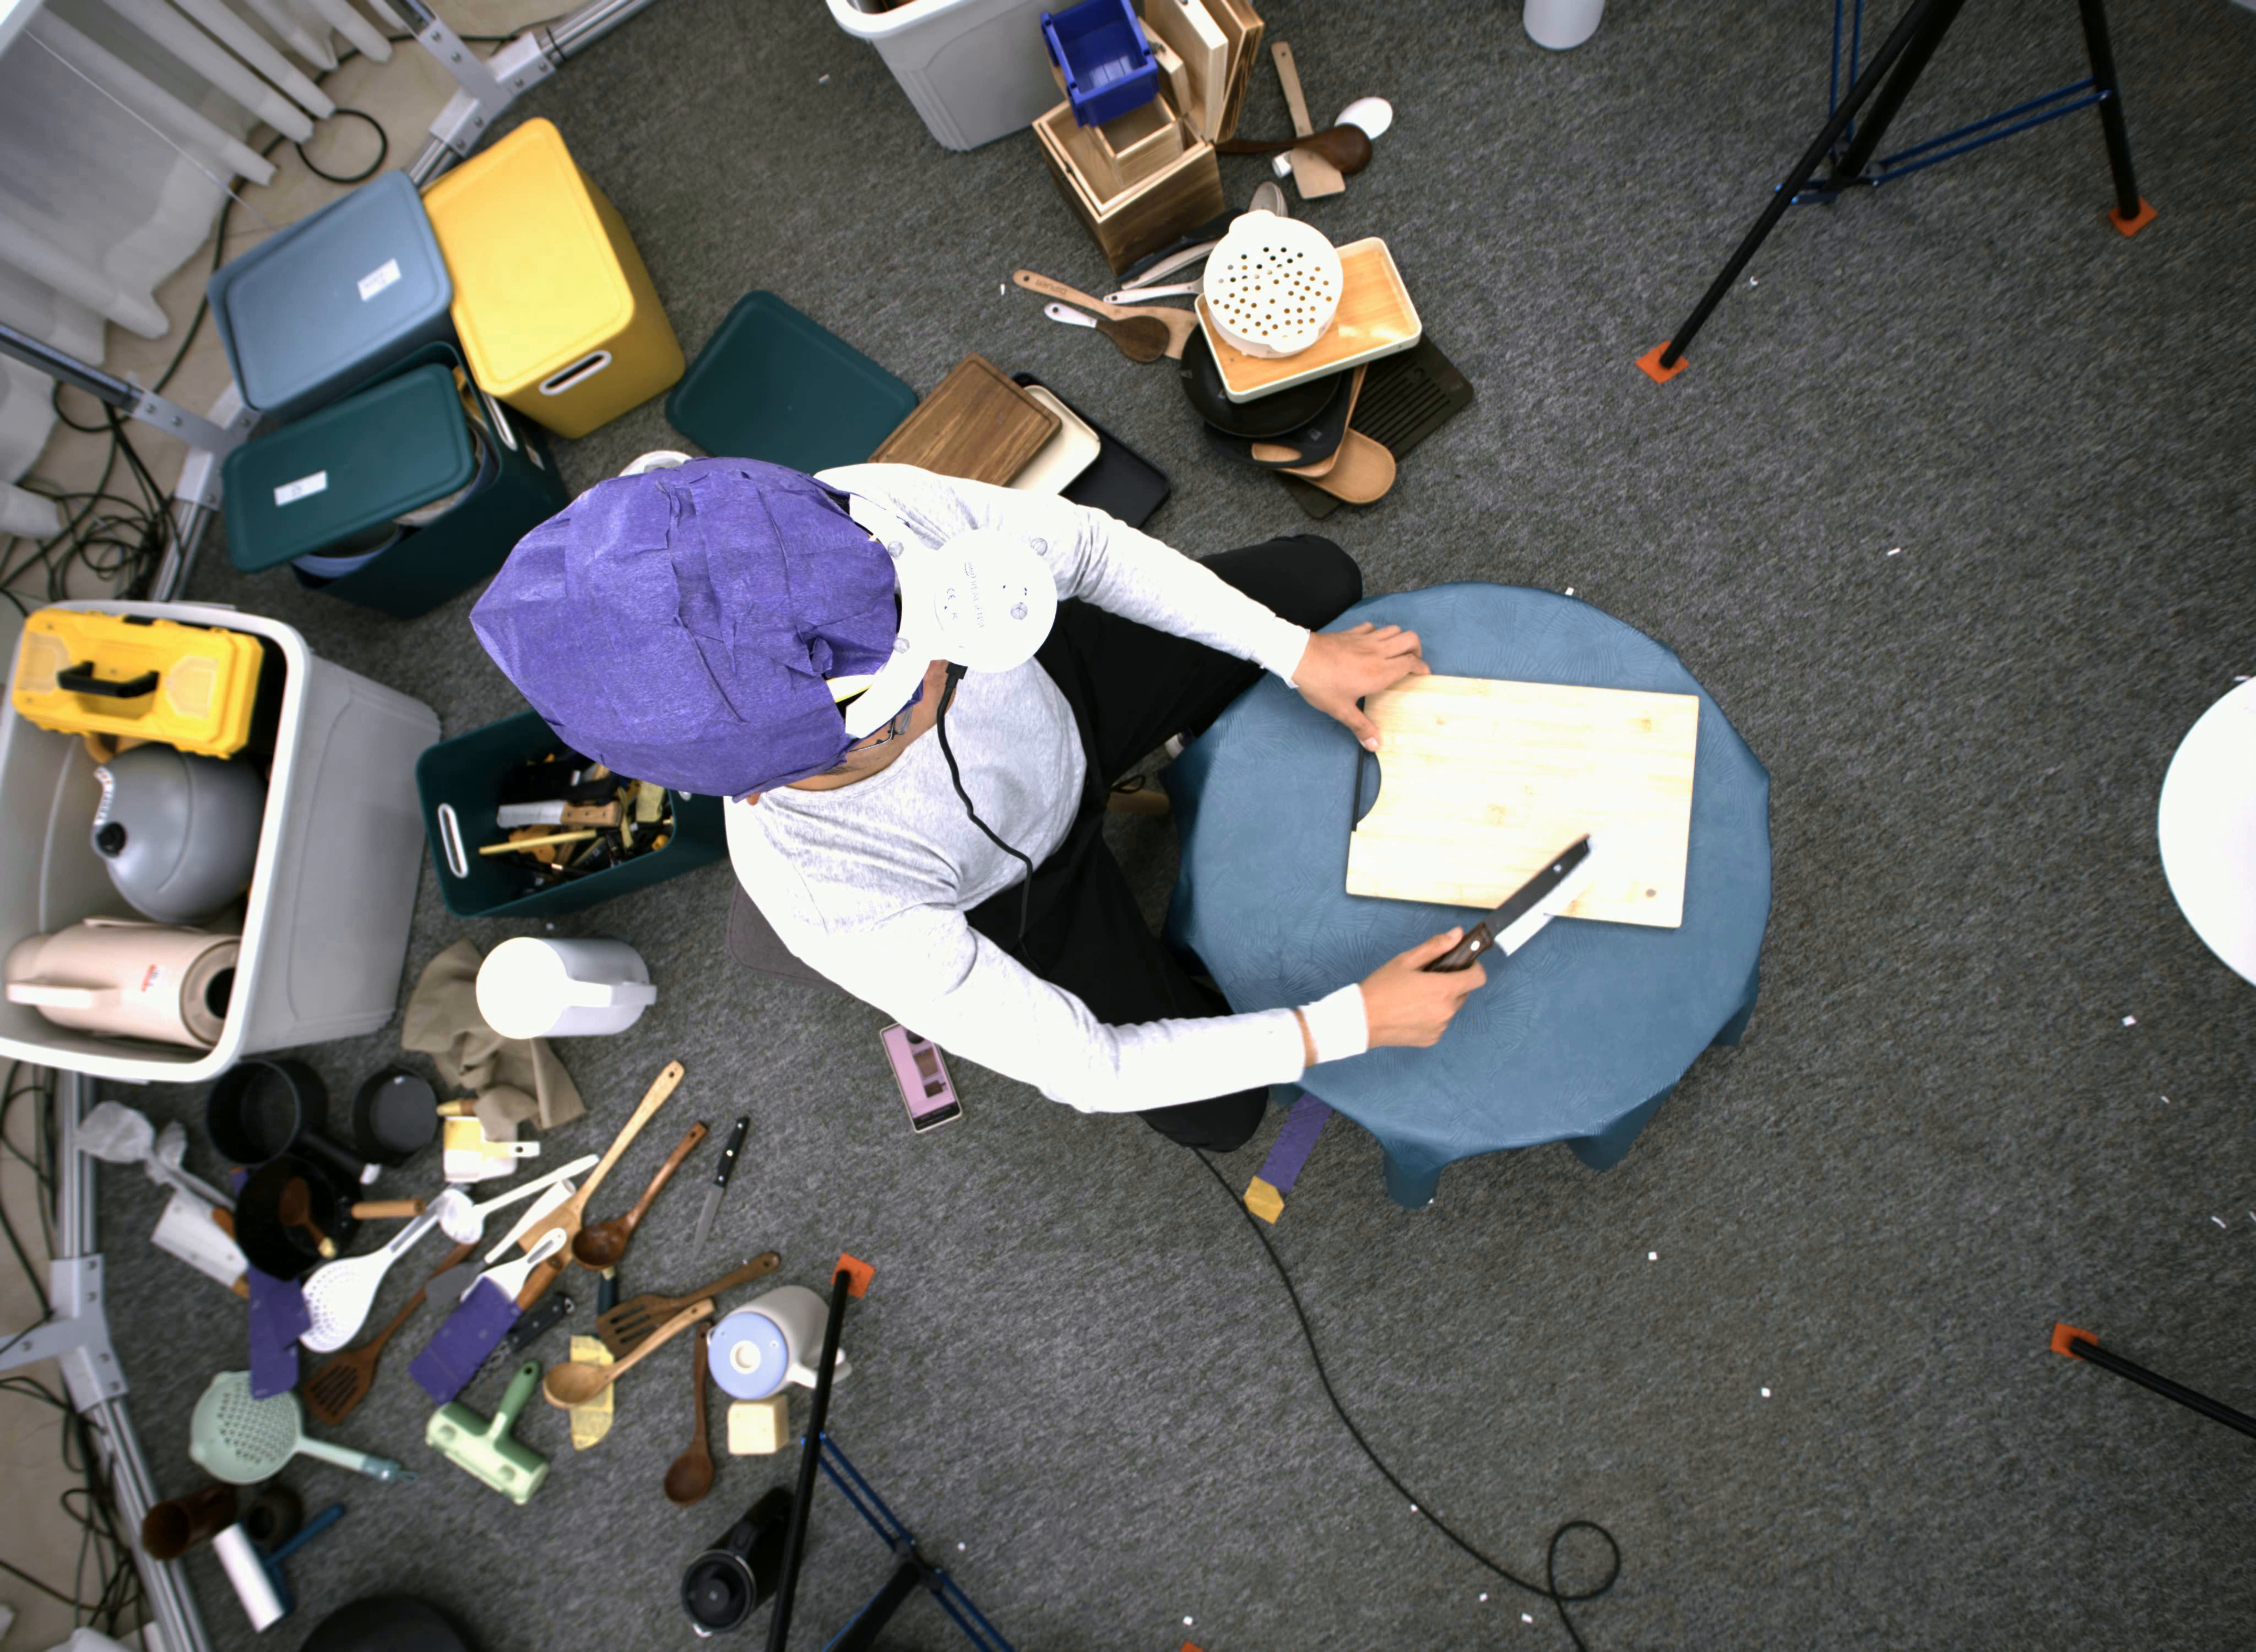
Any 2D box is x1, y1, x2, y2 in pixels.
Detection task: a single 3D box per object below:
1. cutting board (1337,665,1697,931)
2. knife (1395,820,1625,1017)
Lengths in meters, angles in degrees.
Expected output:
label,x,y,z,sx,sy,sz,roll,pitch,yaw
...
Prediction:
label,x,y,z,sx,sy,sz,roll,pitch,yaw
cutting board,0.403,-0.034,1.433,0.350,0.023,0.250,5,87,11
knife,0.378,0.089,1.361,0.291,0.020,0.050,-42,98,9
